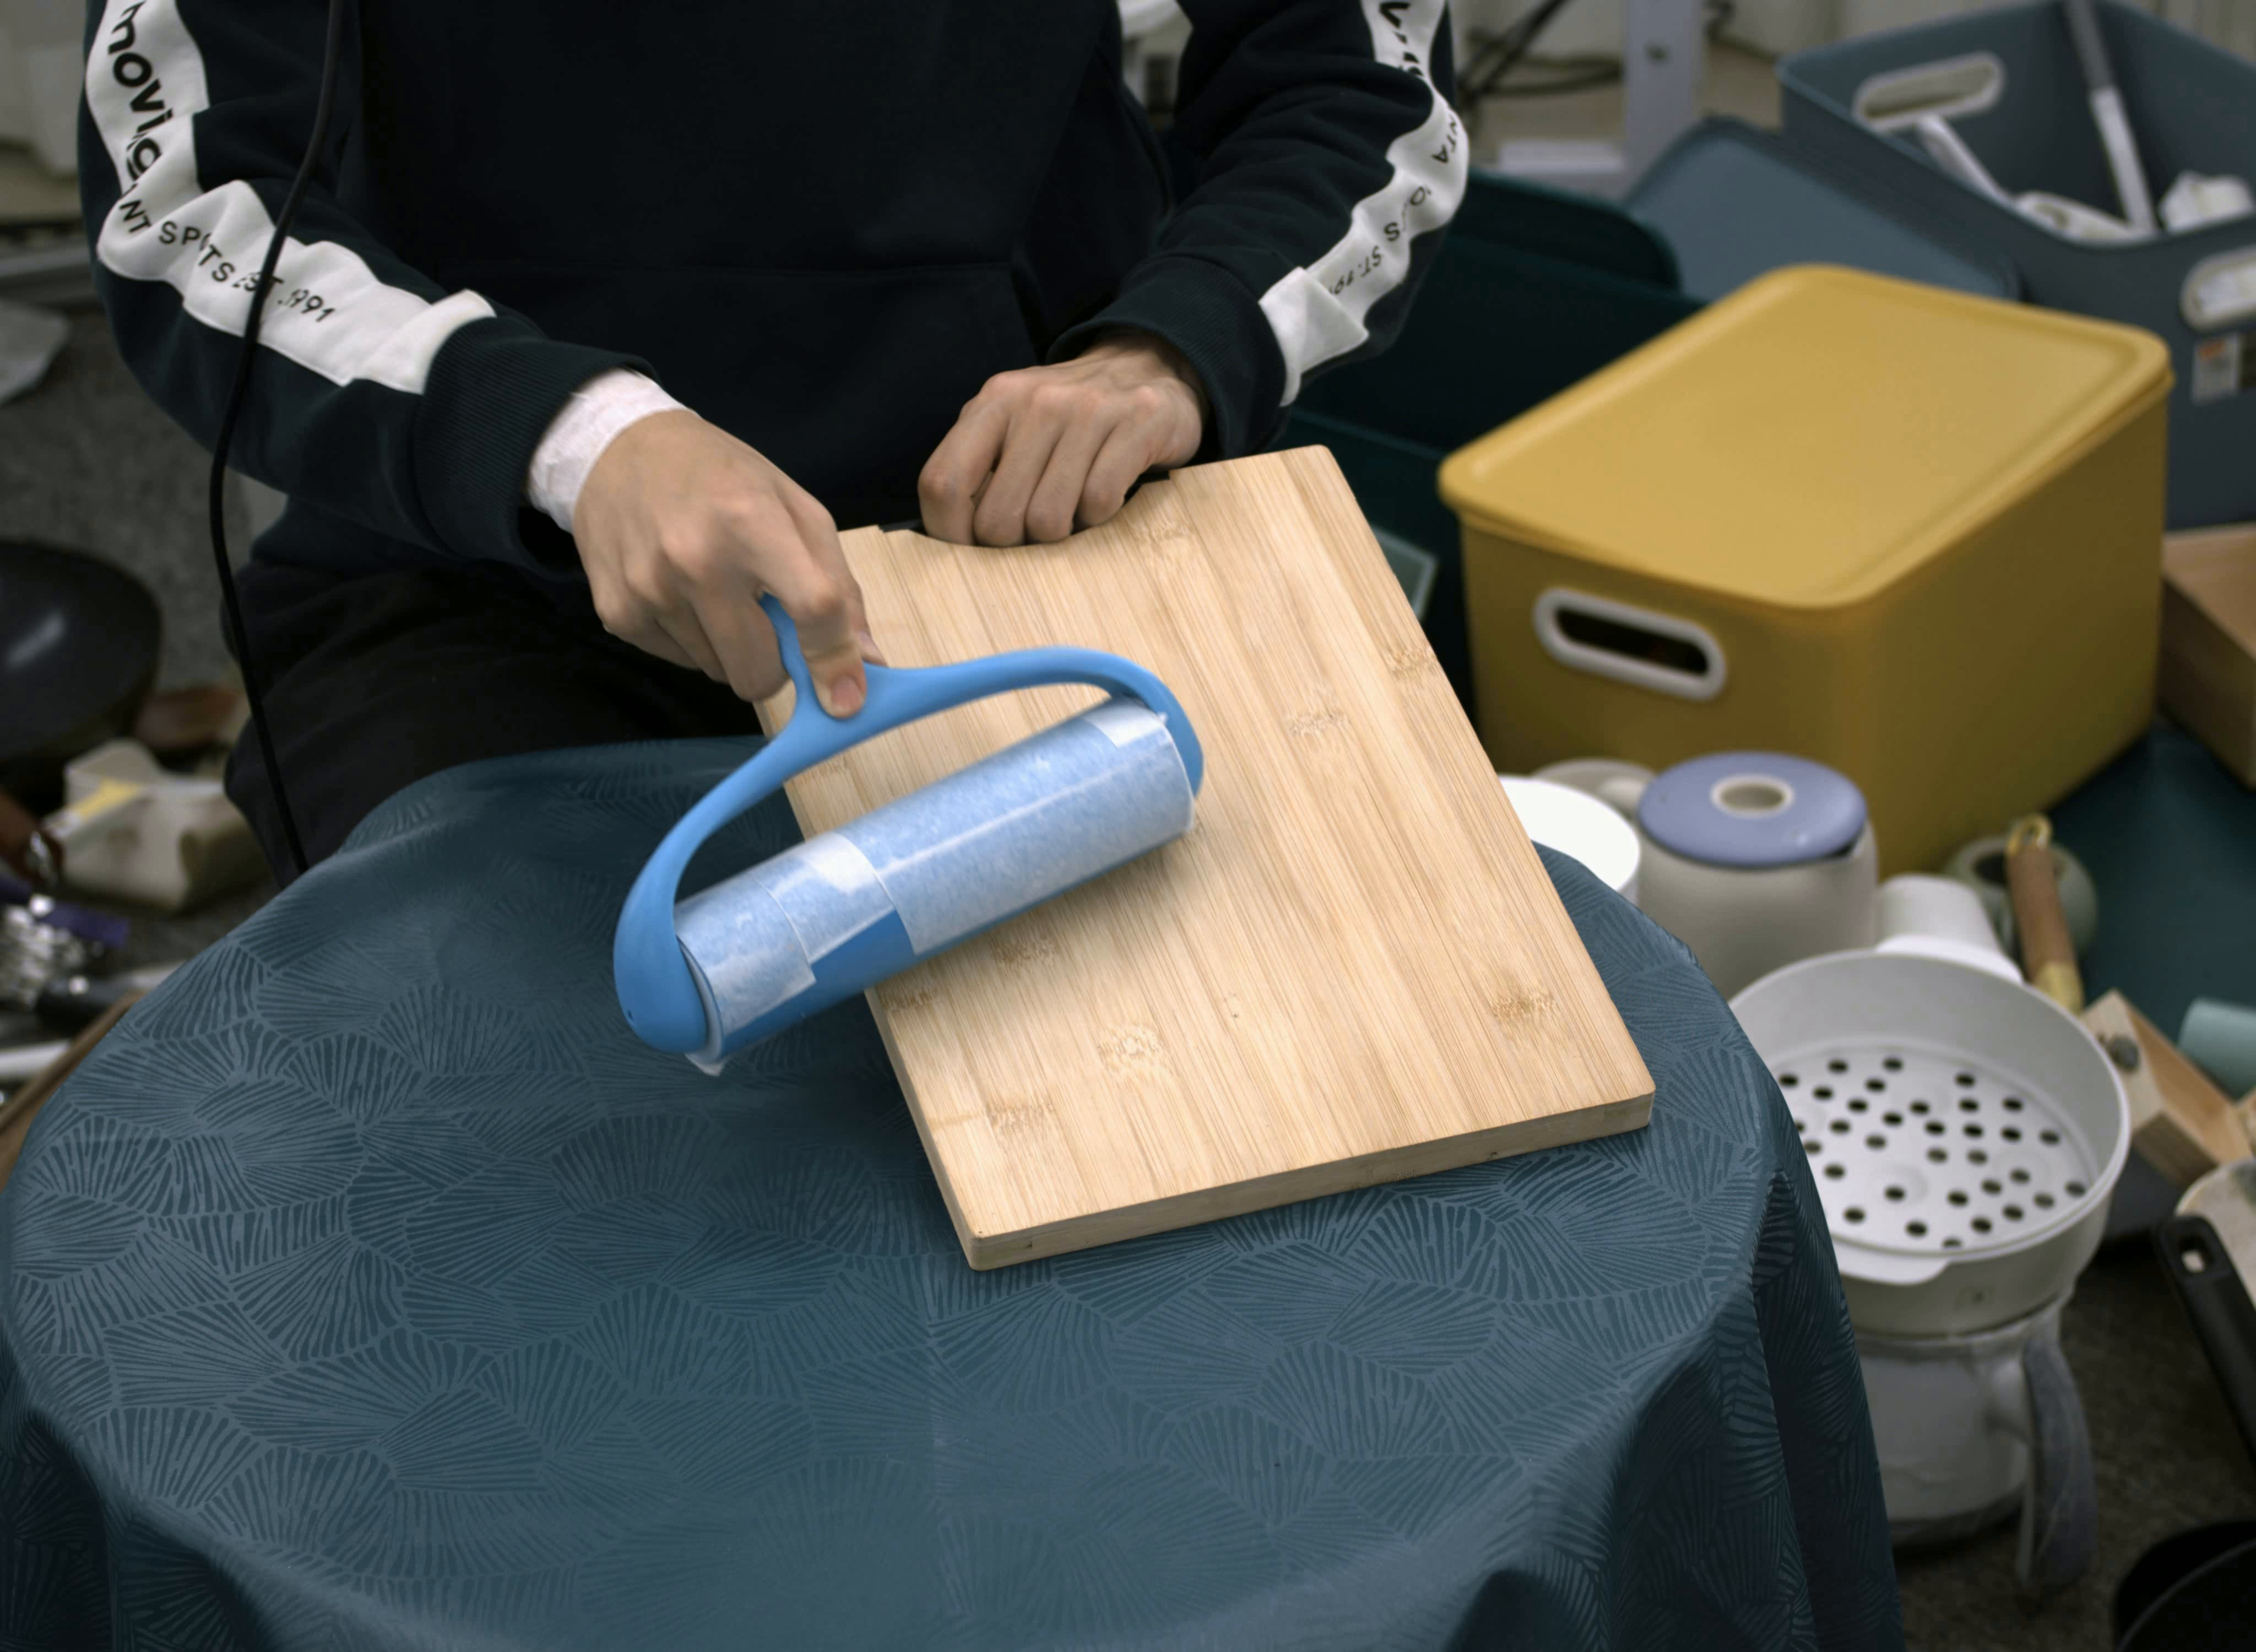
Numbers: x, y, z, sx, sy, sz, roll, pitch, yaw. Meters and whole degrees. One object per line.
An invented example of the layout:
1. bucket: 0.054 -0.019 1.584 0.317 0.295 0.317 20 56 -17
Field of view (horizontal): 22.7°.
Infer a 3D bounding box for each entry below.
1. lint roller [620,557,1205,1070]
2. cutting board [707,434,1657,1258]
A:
1. lint roller: -0.103 -0.030 1.905 0.231 0.067 0.181 -29 73 -27
2. cutting board: 0.011 0.000 1.965 0.251 0.023 0.354 -11 46 -15
